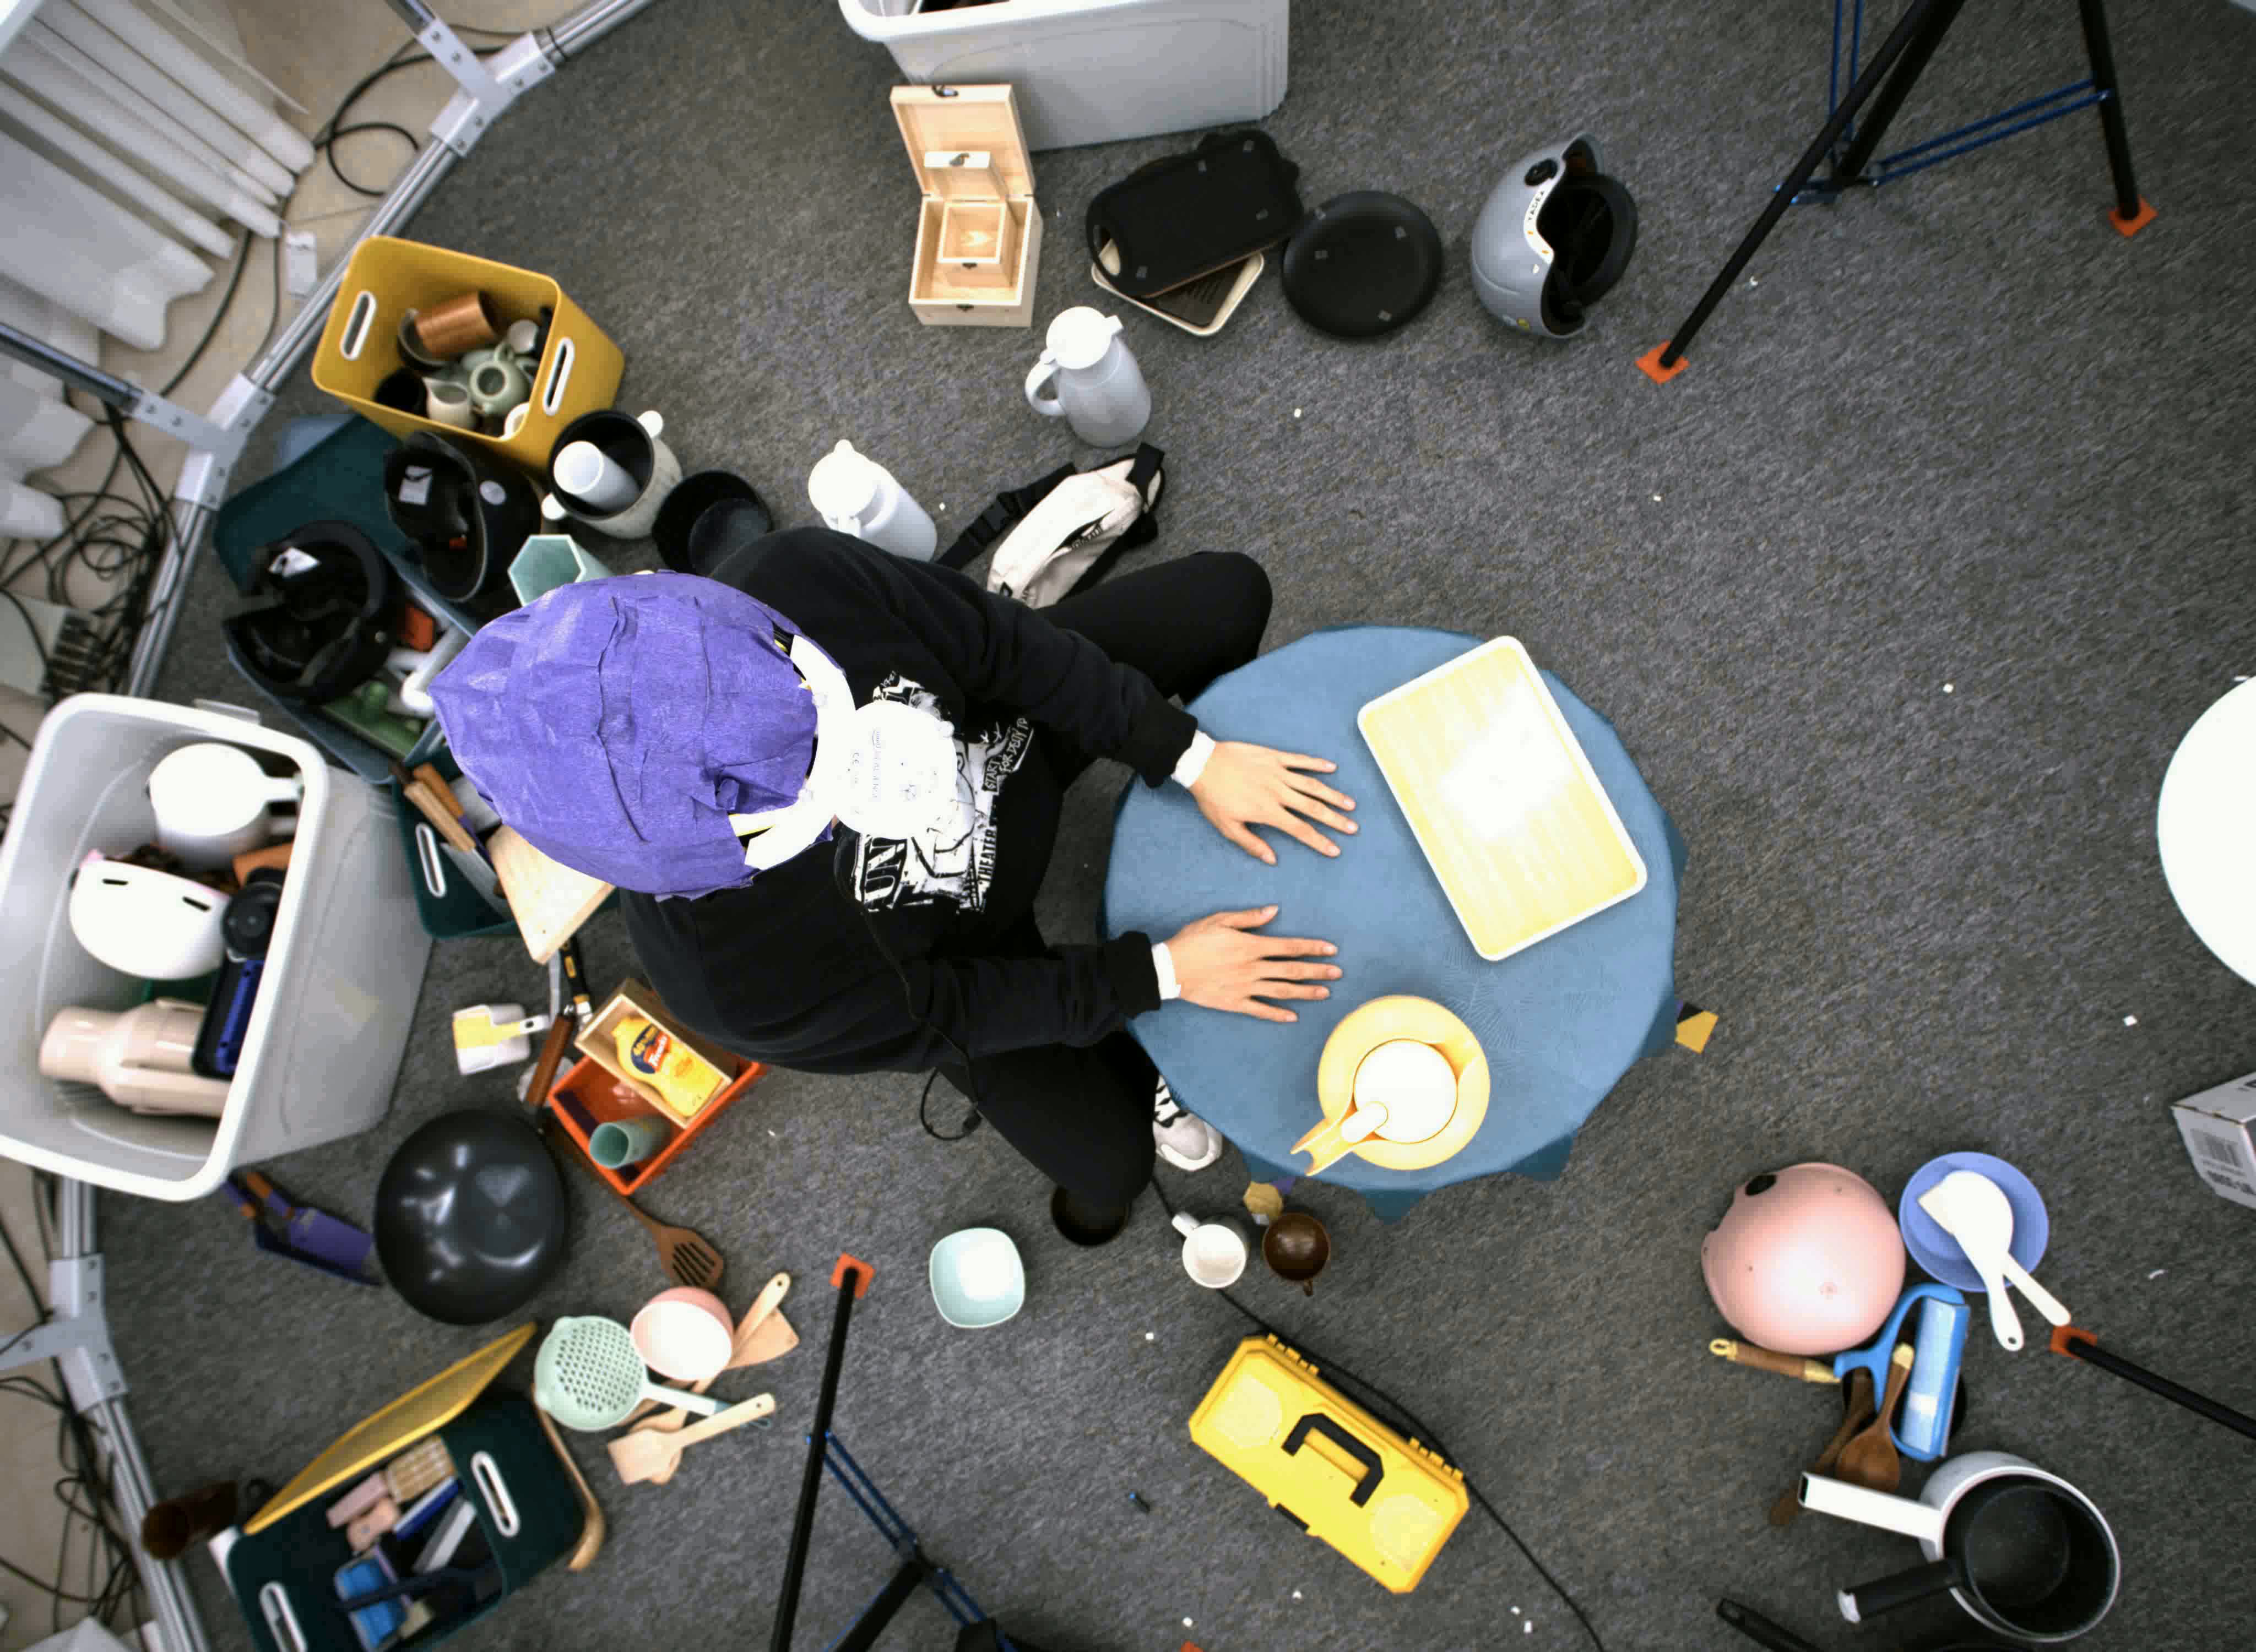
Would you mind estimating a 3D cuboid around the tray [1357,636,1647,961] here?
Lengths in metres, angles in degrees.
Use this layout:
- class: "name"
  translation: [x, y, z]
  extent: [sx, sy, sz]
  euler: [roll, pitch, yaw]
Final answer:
- class: "tray"
  translation: [0.386, -0.031, 1.430]
  extent: [0.193, 0.027, 0.298]
  euler: [-27, 83, 8]

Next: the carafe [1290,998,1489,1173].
- class: "carafe"
  translation: [0.246, 0.254, 1.324]
  extent: [0.203, 0.261, 0.162]
  euler: [-35, 78, 5]
